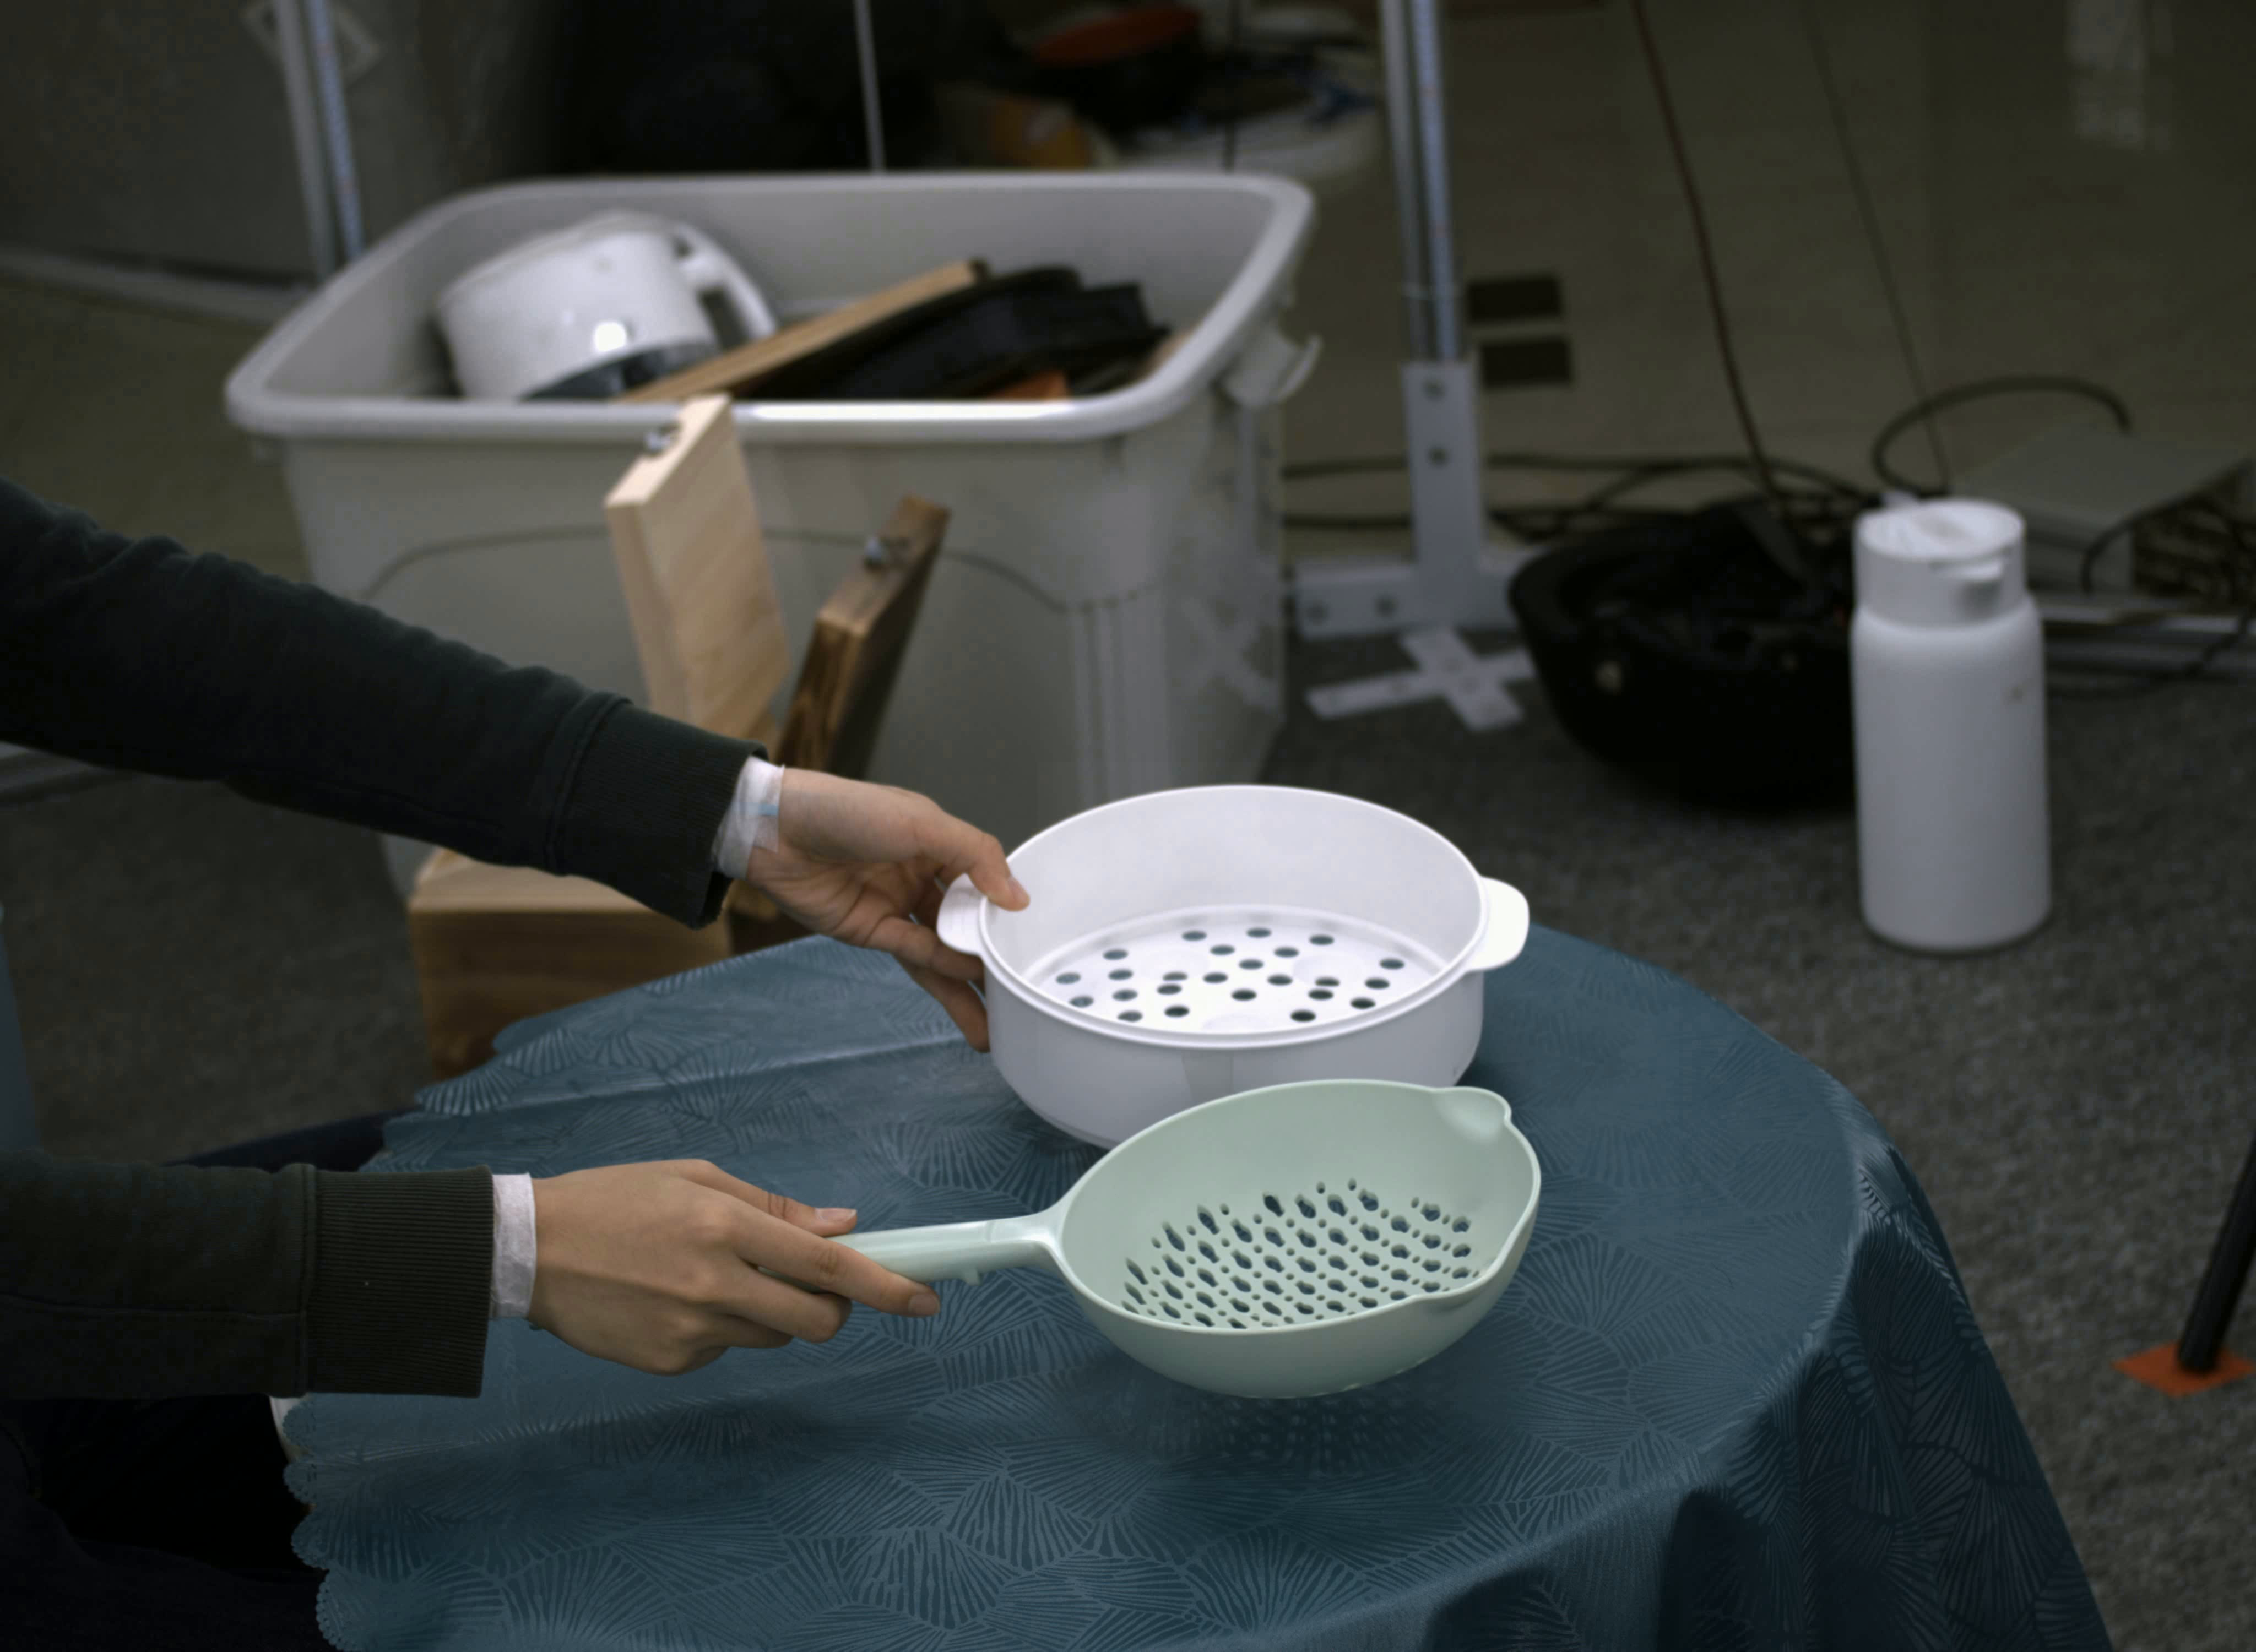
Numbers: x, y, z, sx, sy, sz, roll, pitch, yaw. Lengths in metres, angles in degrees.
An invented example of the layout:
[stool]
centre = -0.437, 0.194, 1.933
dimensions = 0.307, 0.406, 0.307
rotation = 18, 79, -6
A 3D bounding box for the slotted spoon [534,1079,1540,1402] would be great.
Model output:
[slotted spoon]
centre = -0.035, 0.152, 1.994
dimensions = 0.358, 0.076, 0.167
rotation = 2, 27, 6

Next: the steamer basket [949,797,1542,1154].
[steamer basket]
centre = 0.046, 0.062, 2.208
dimensions = 0.230, 0.070, 0.199
rotation = 1, 28, 7
